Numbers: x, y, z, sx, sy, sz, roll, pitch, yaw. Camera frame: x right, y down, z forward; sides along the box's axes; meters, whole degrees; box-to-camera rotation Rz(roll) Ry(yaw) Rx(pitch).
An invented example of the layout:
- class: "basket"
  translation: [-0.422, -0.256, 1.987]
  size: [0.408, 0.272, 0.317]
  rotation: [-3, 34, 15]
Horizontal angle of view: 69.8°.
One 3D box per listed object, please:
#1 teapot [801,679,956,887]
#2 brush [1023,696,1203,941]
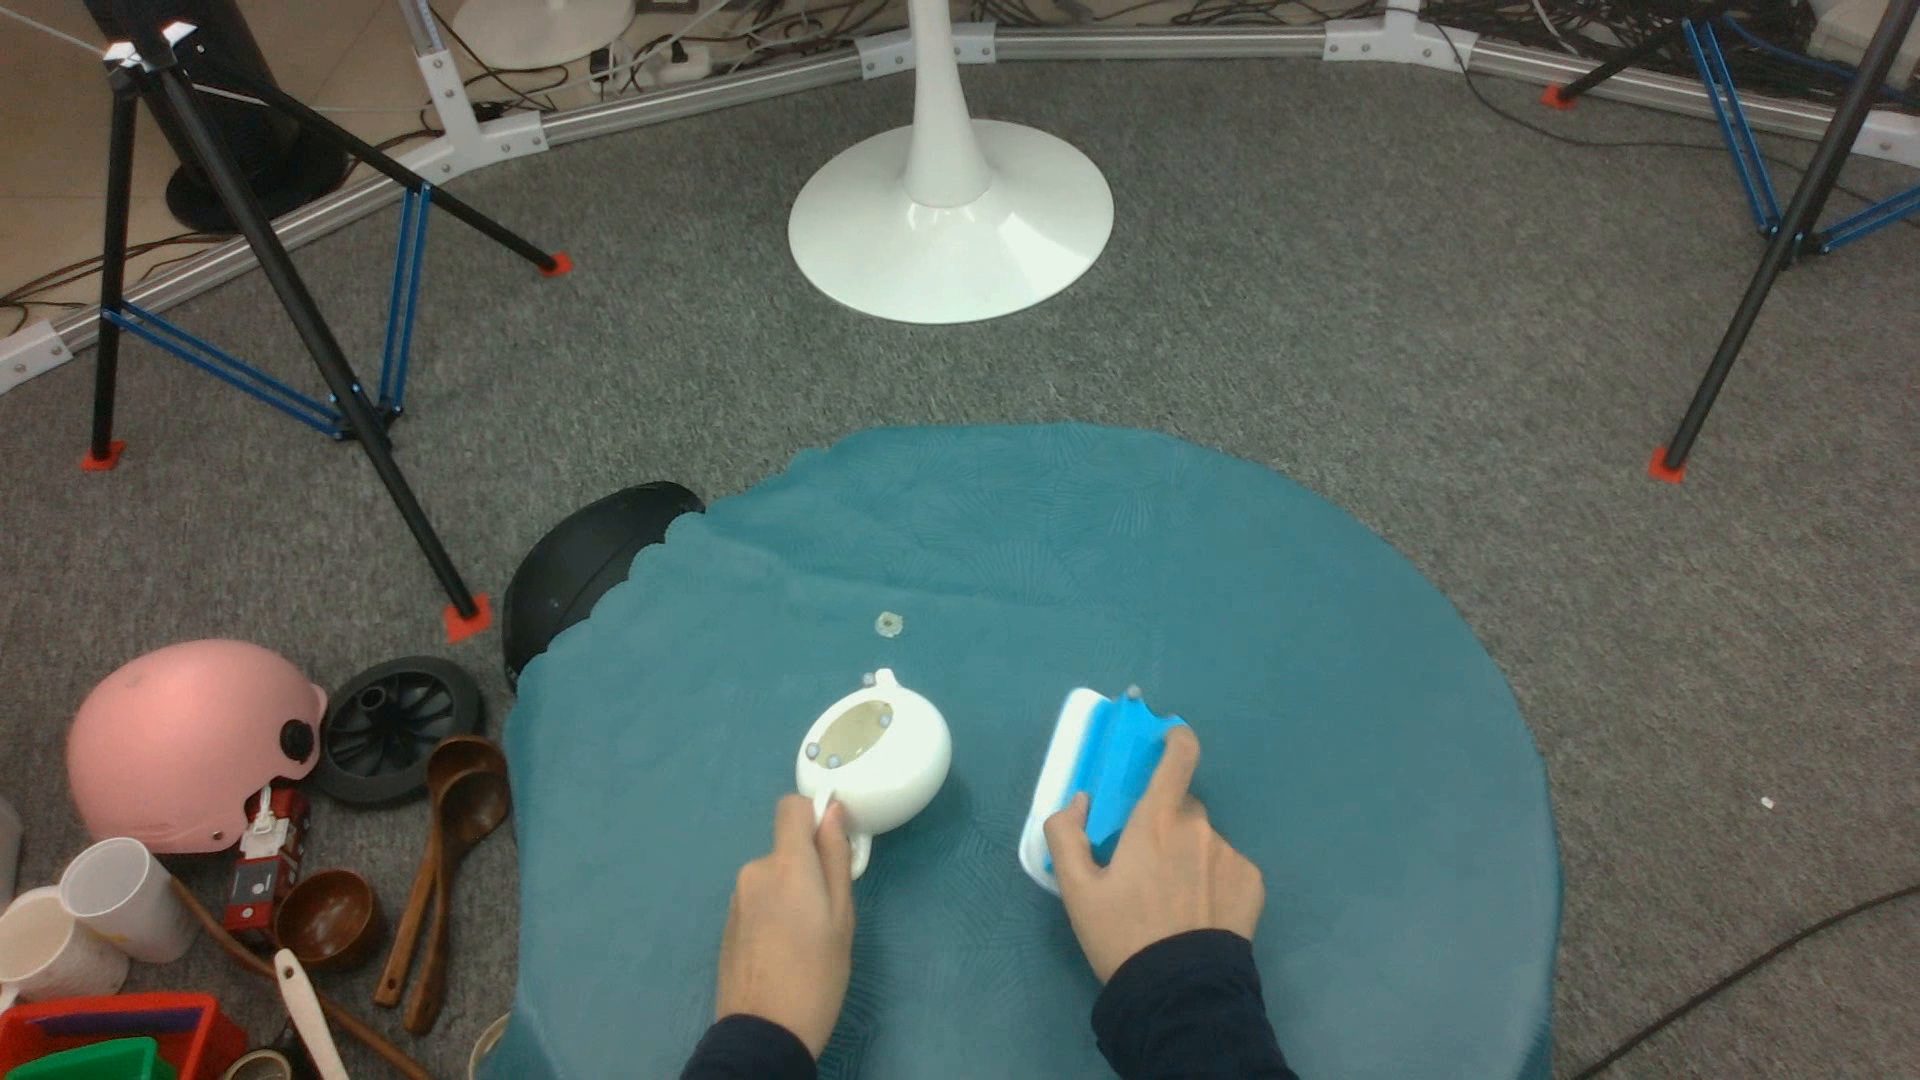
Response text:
- class: "teapot"
  translation: [-0.050, 0.140, 0.794]
  size: [0.093, 0.056, 0.128]
  rotation: [-14, 33, 26]
- class: "brush"
  translation: [0.092, 0.144, 0.756]
  size: [0.084, 0.055, 0.145]
  rotation: [29, 42, 0]
